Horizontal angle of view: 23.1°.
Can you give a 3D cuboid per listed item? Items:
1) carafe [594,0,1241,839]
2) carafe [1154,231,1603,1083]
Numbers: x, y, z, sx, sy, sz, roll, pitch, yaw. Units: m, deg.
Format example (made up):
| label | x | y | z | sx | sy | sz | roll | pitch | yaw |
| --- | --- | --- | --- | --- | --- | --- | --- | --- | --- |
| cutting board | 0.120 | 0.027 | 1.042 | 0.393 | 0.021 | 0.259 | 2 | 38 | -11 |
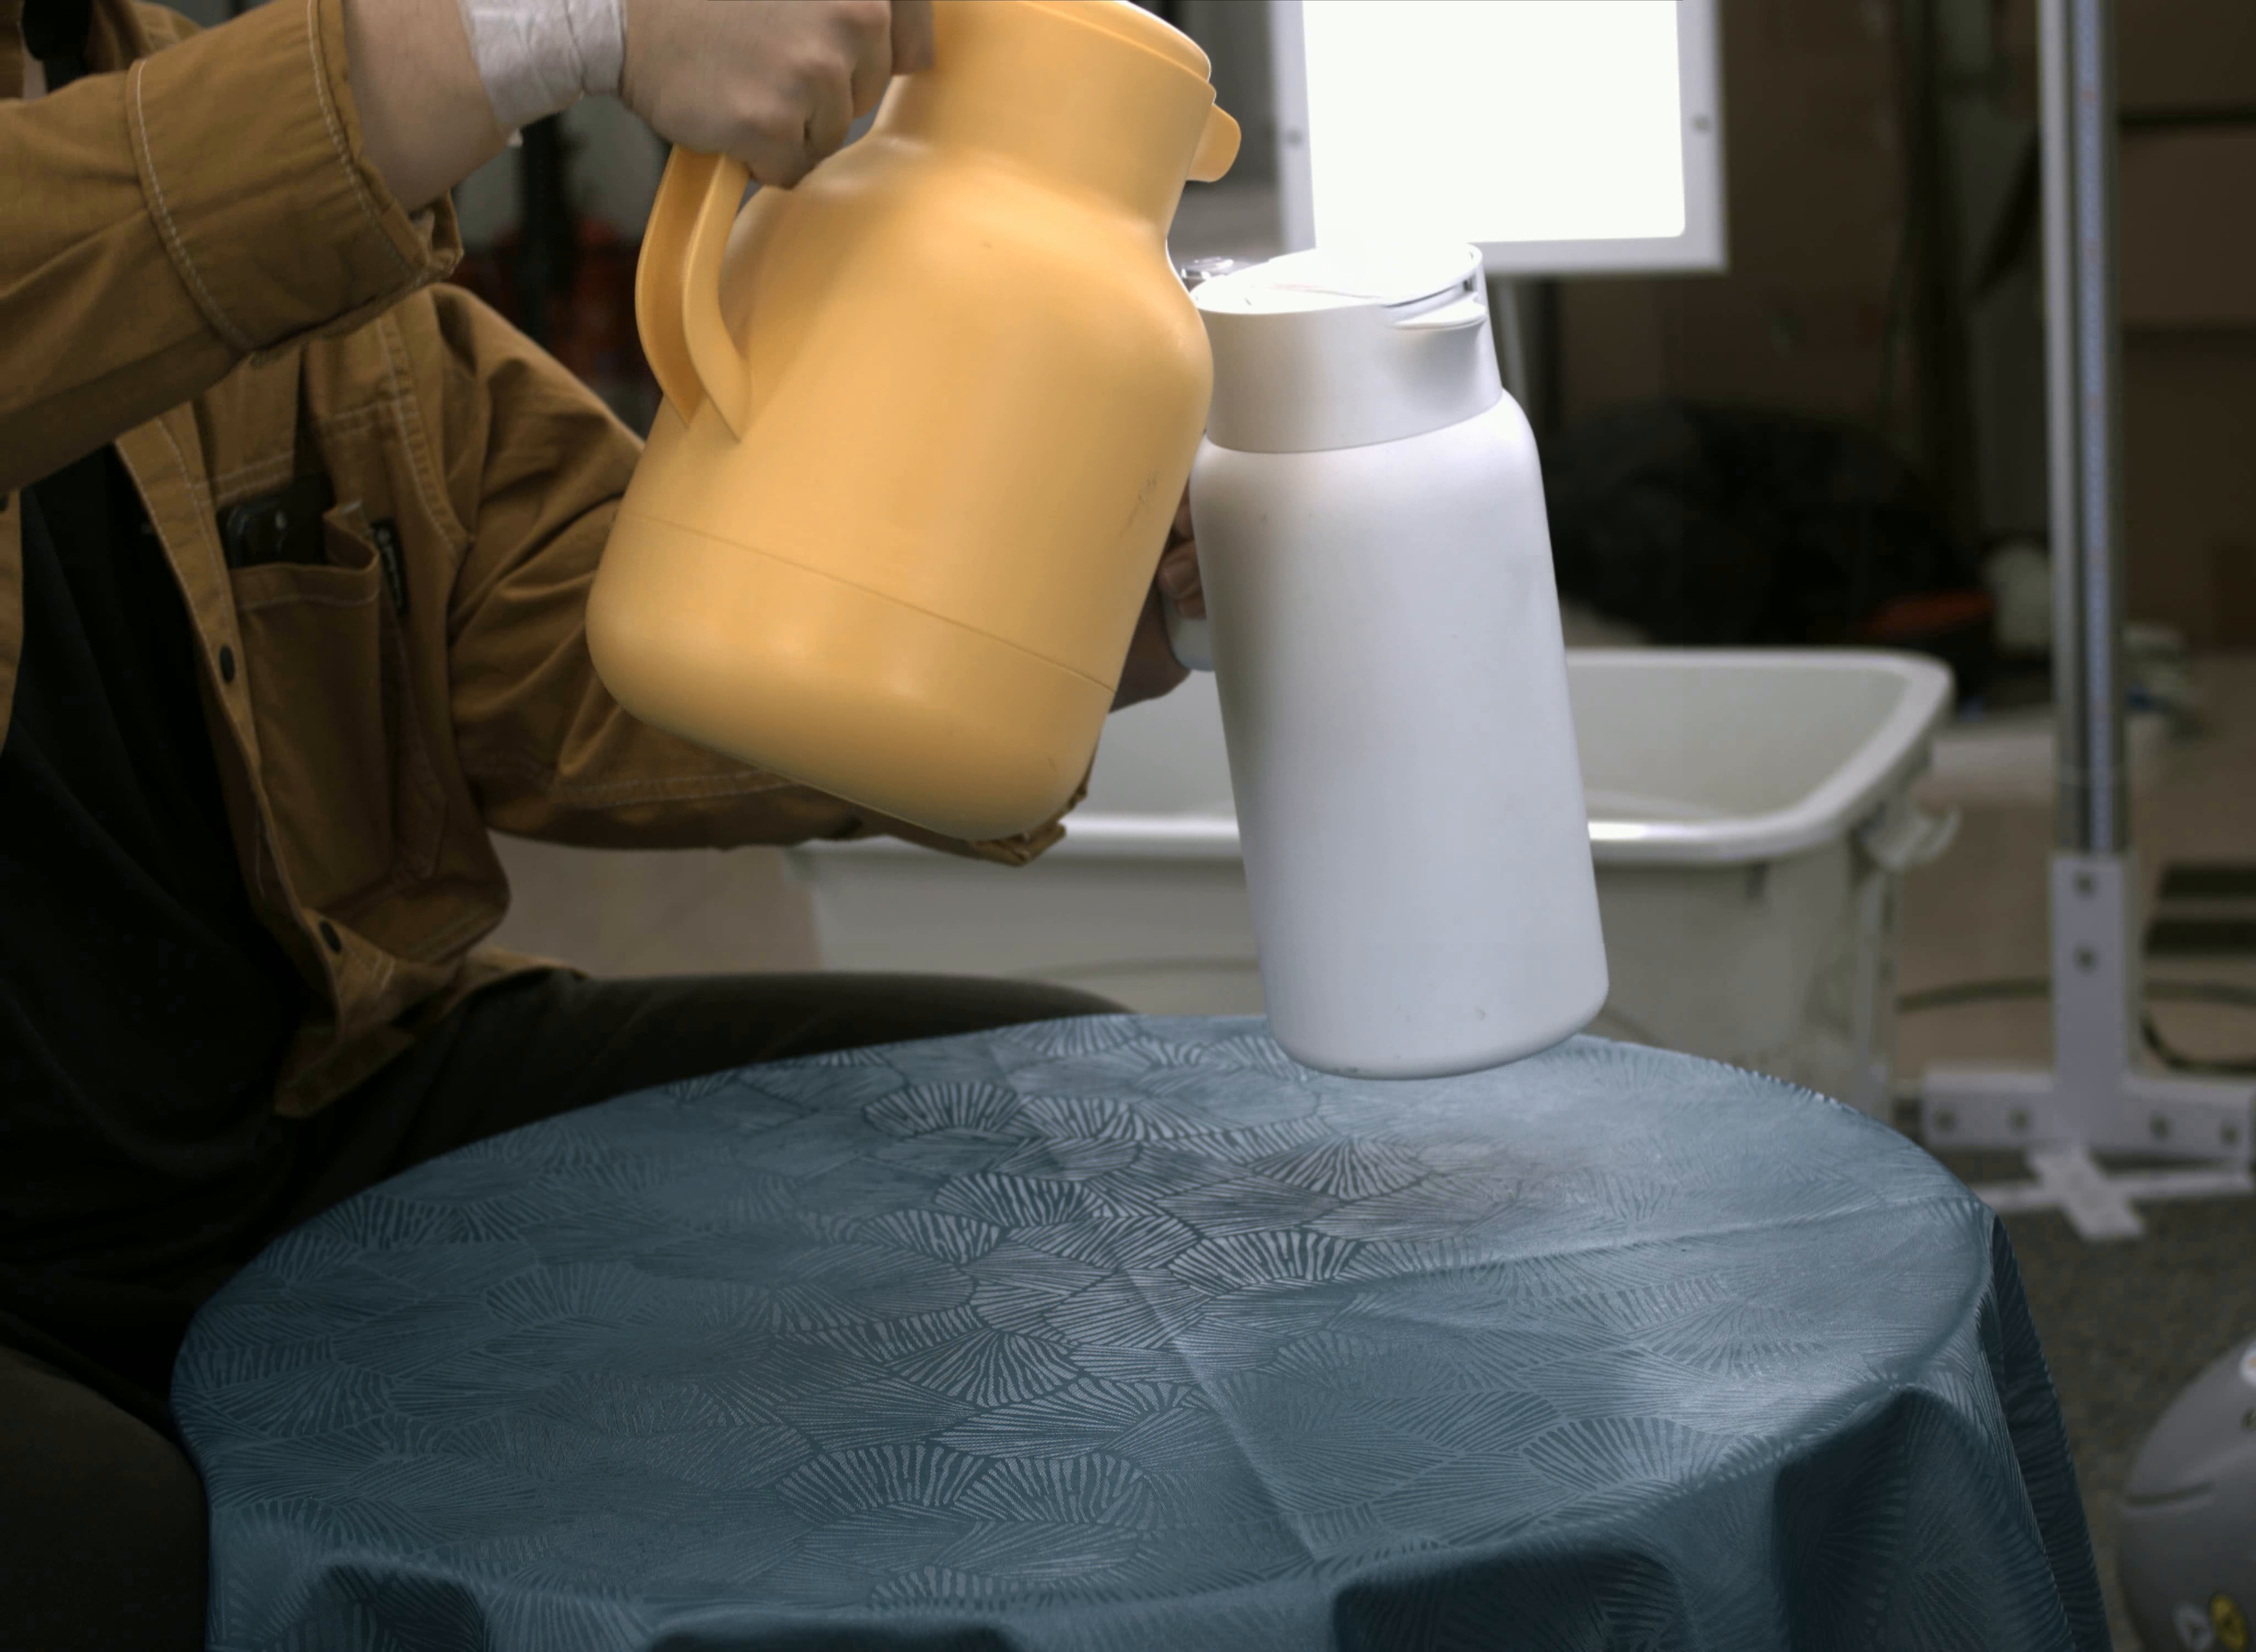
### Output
| label | x | y | z | sx | sy | sz | roll | pitch | yaw |
| --- | --- | --- | --- | --- | --- | --- | --- | --- | --- |
| carafe | -0.069 | -0.141 | 1.684 | 0.198 | 0.260 | 0.167 | 21 | -5 | -40 |
| carafe | 0.074 | -0.058 | 1.844 | 0.121 | 0.269 | 0.176 | -23 | 21 | -33 |
